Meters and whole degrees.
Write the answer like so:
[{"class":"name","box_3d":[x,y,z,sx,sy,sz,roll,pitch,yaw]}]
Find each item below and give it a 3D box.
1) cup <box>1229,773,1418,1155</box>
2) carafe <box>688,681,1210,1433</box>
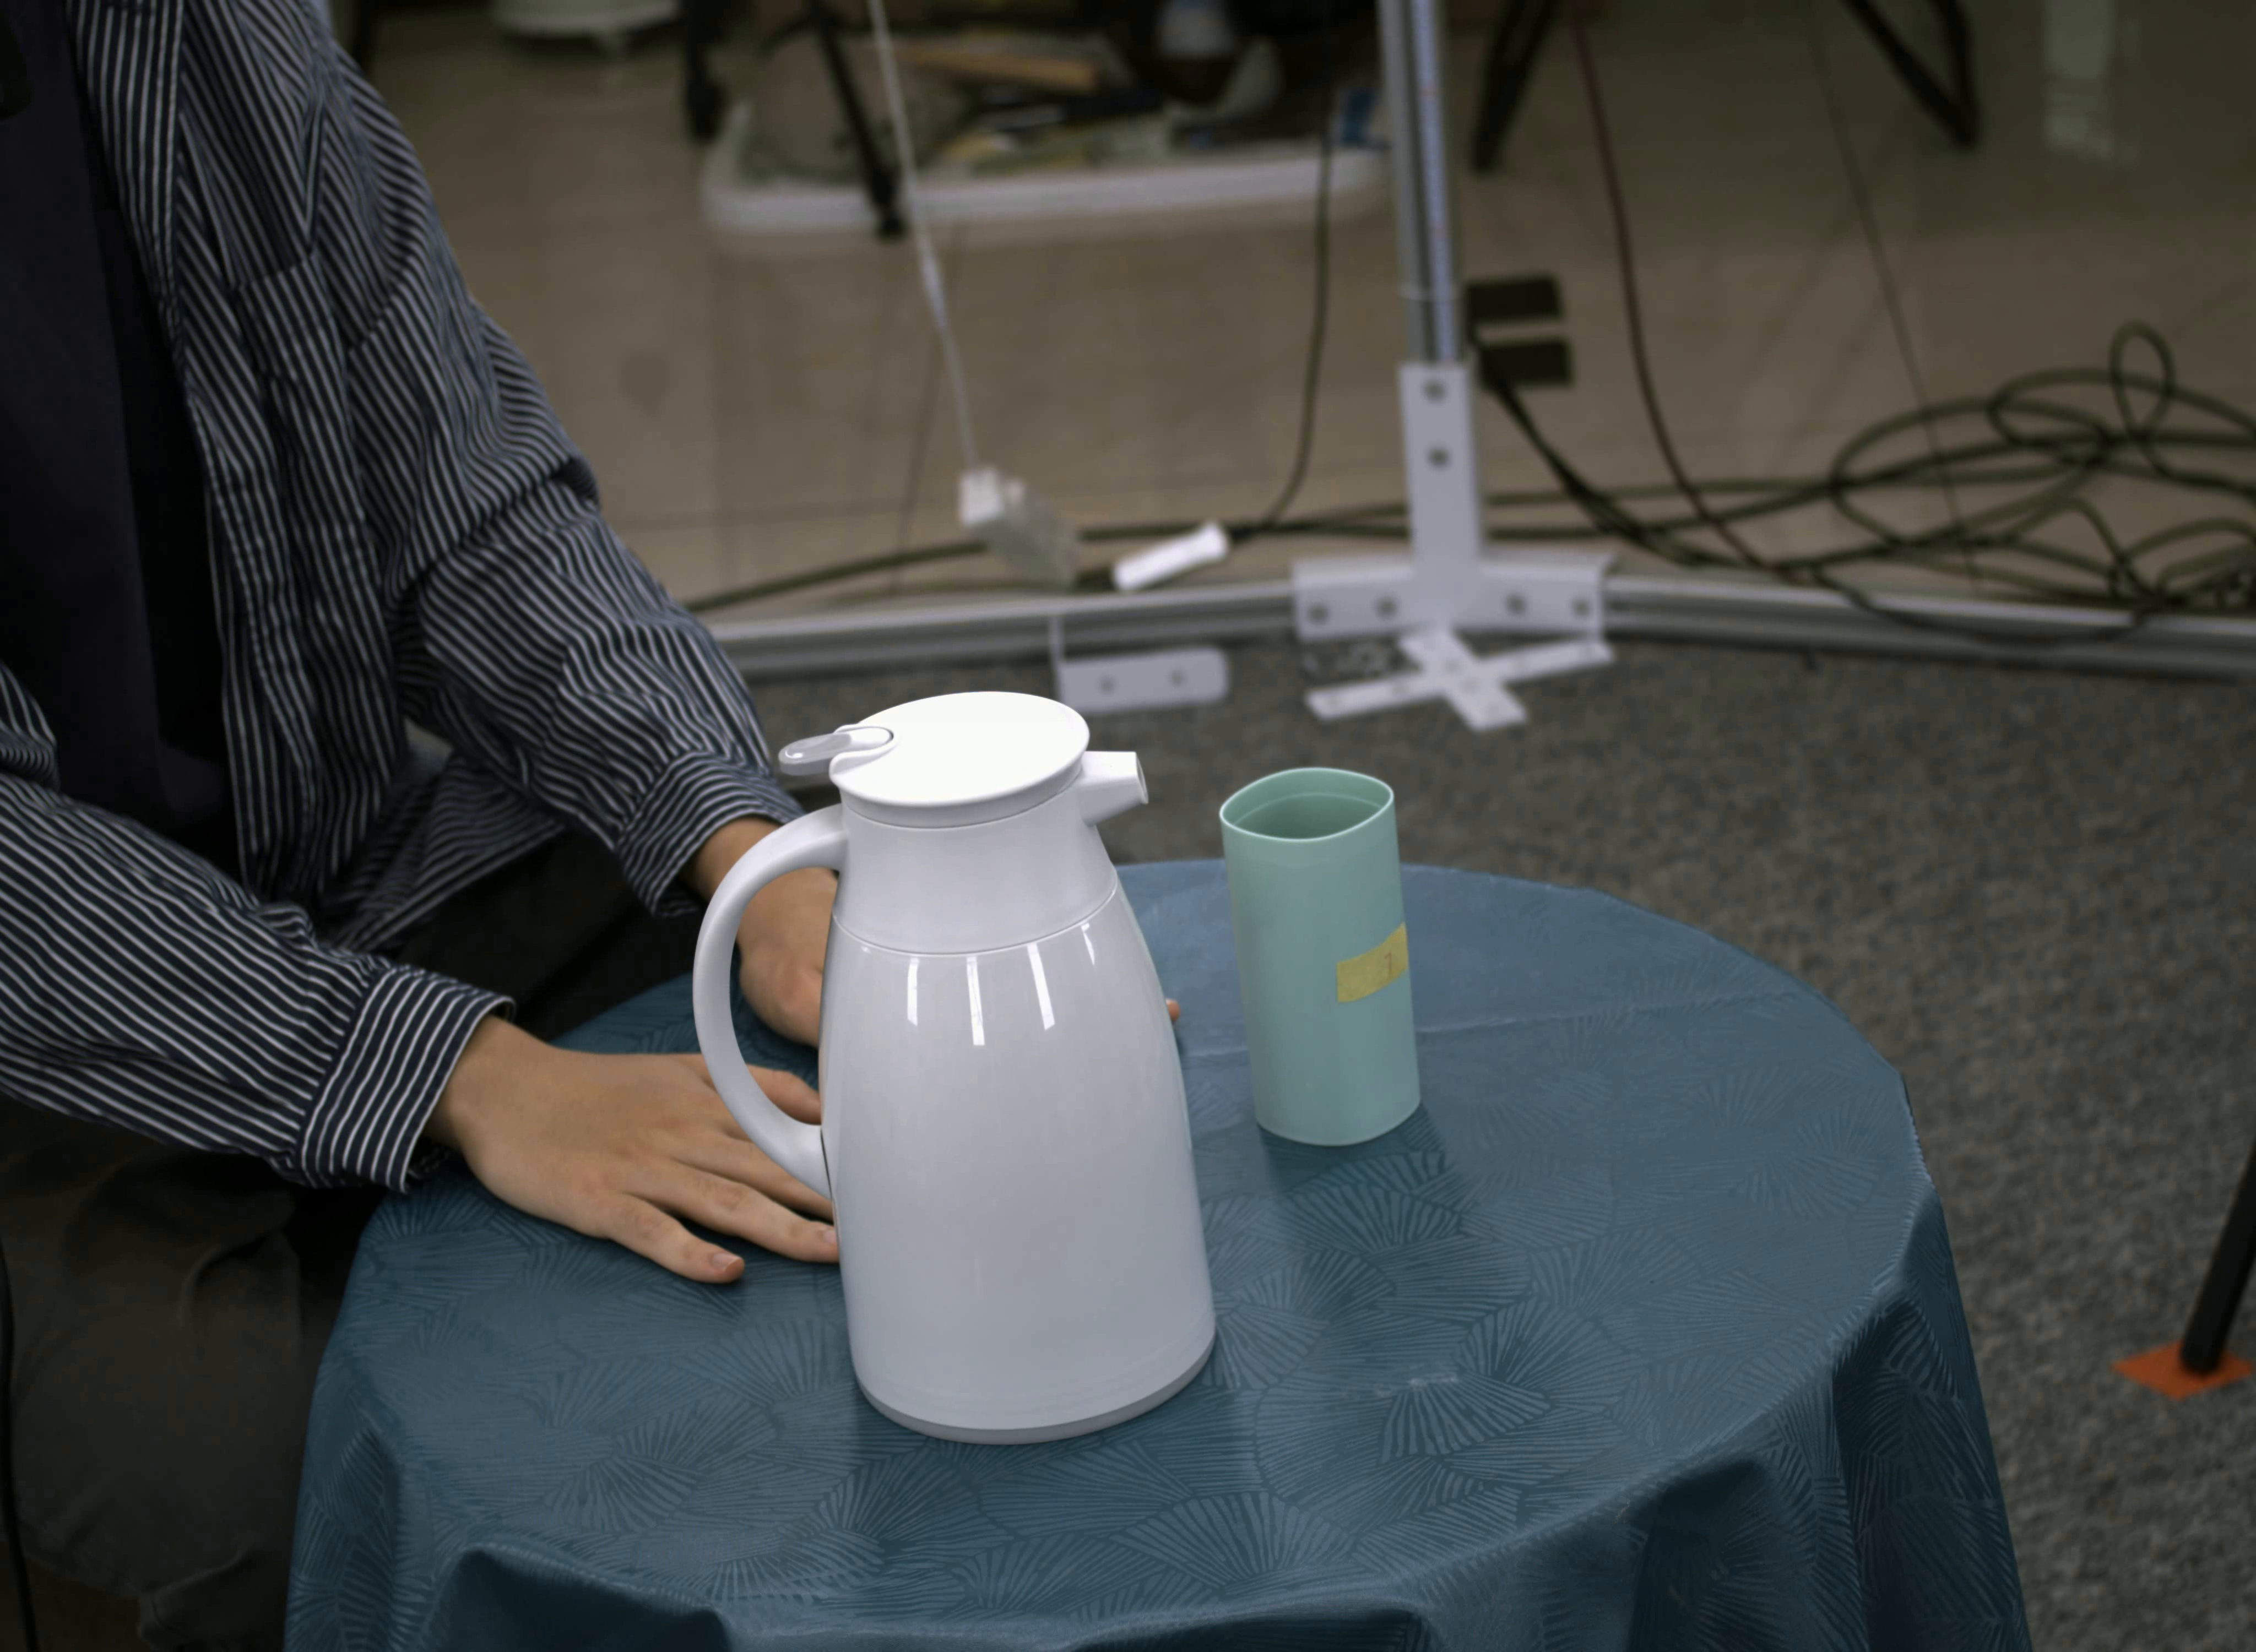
[{"class":"cup","box_3d":[0.075,0.052,2.166,0.066,0.134,0.066,-4,27,2]},{"class":"carafe","box_3d":[-0.067,0.077,1.993,0.167,0.253,0.130,-8,27,-1]}]
